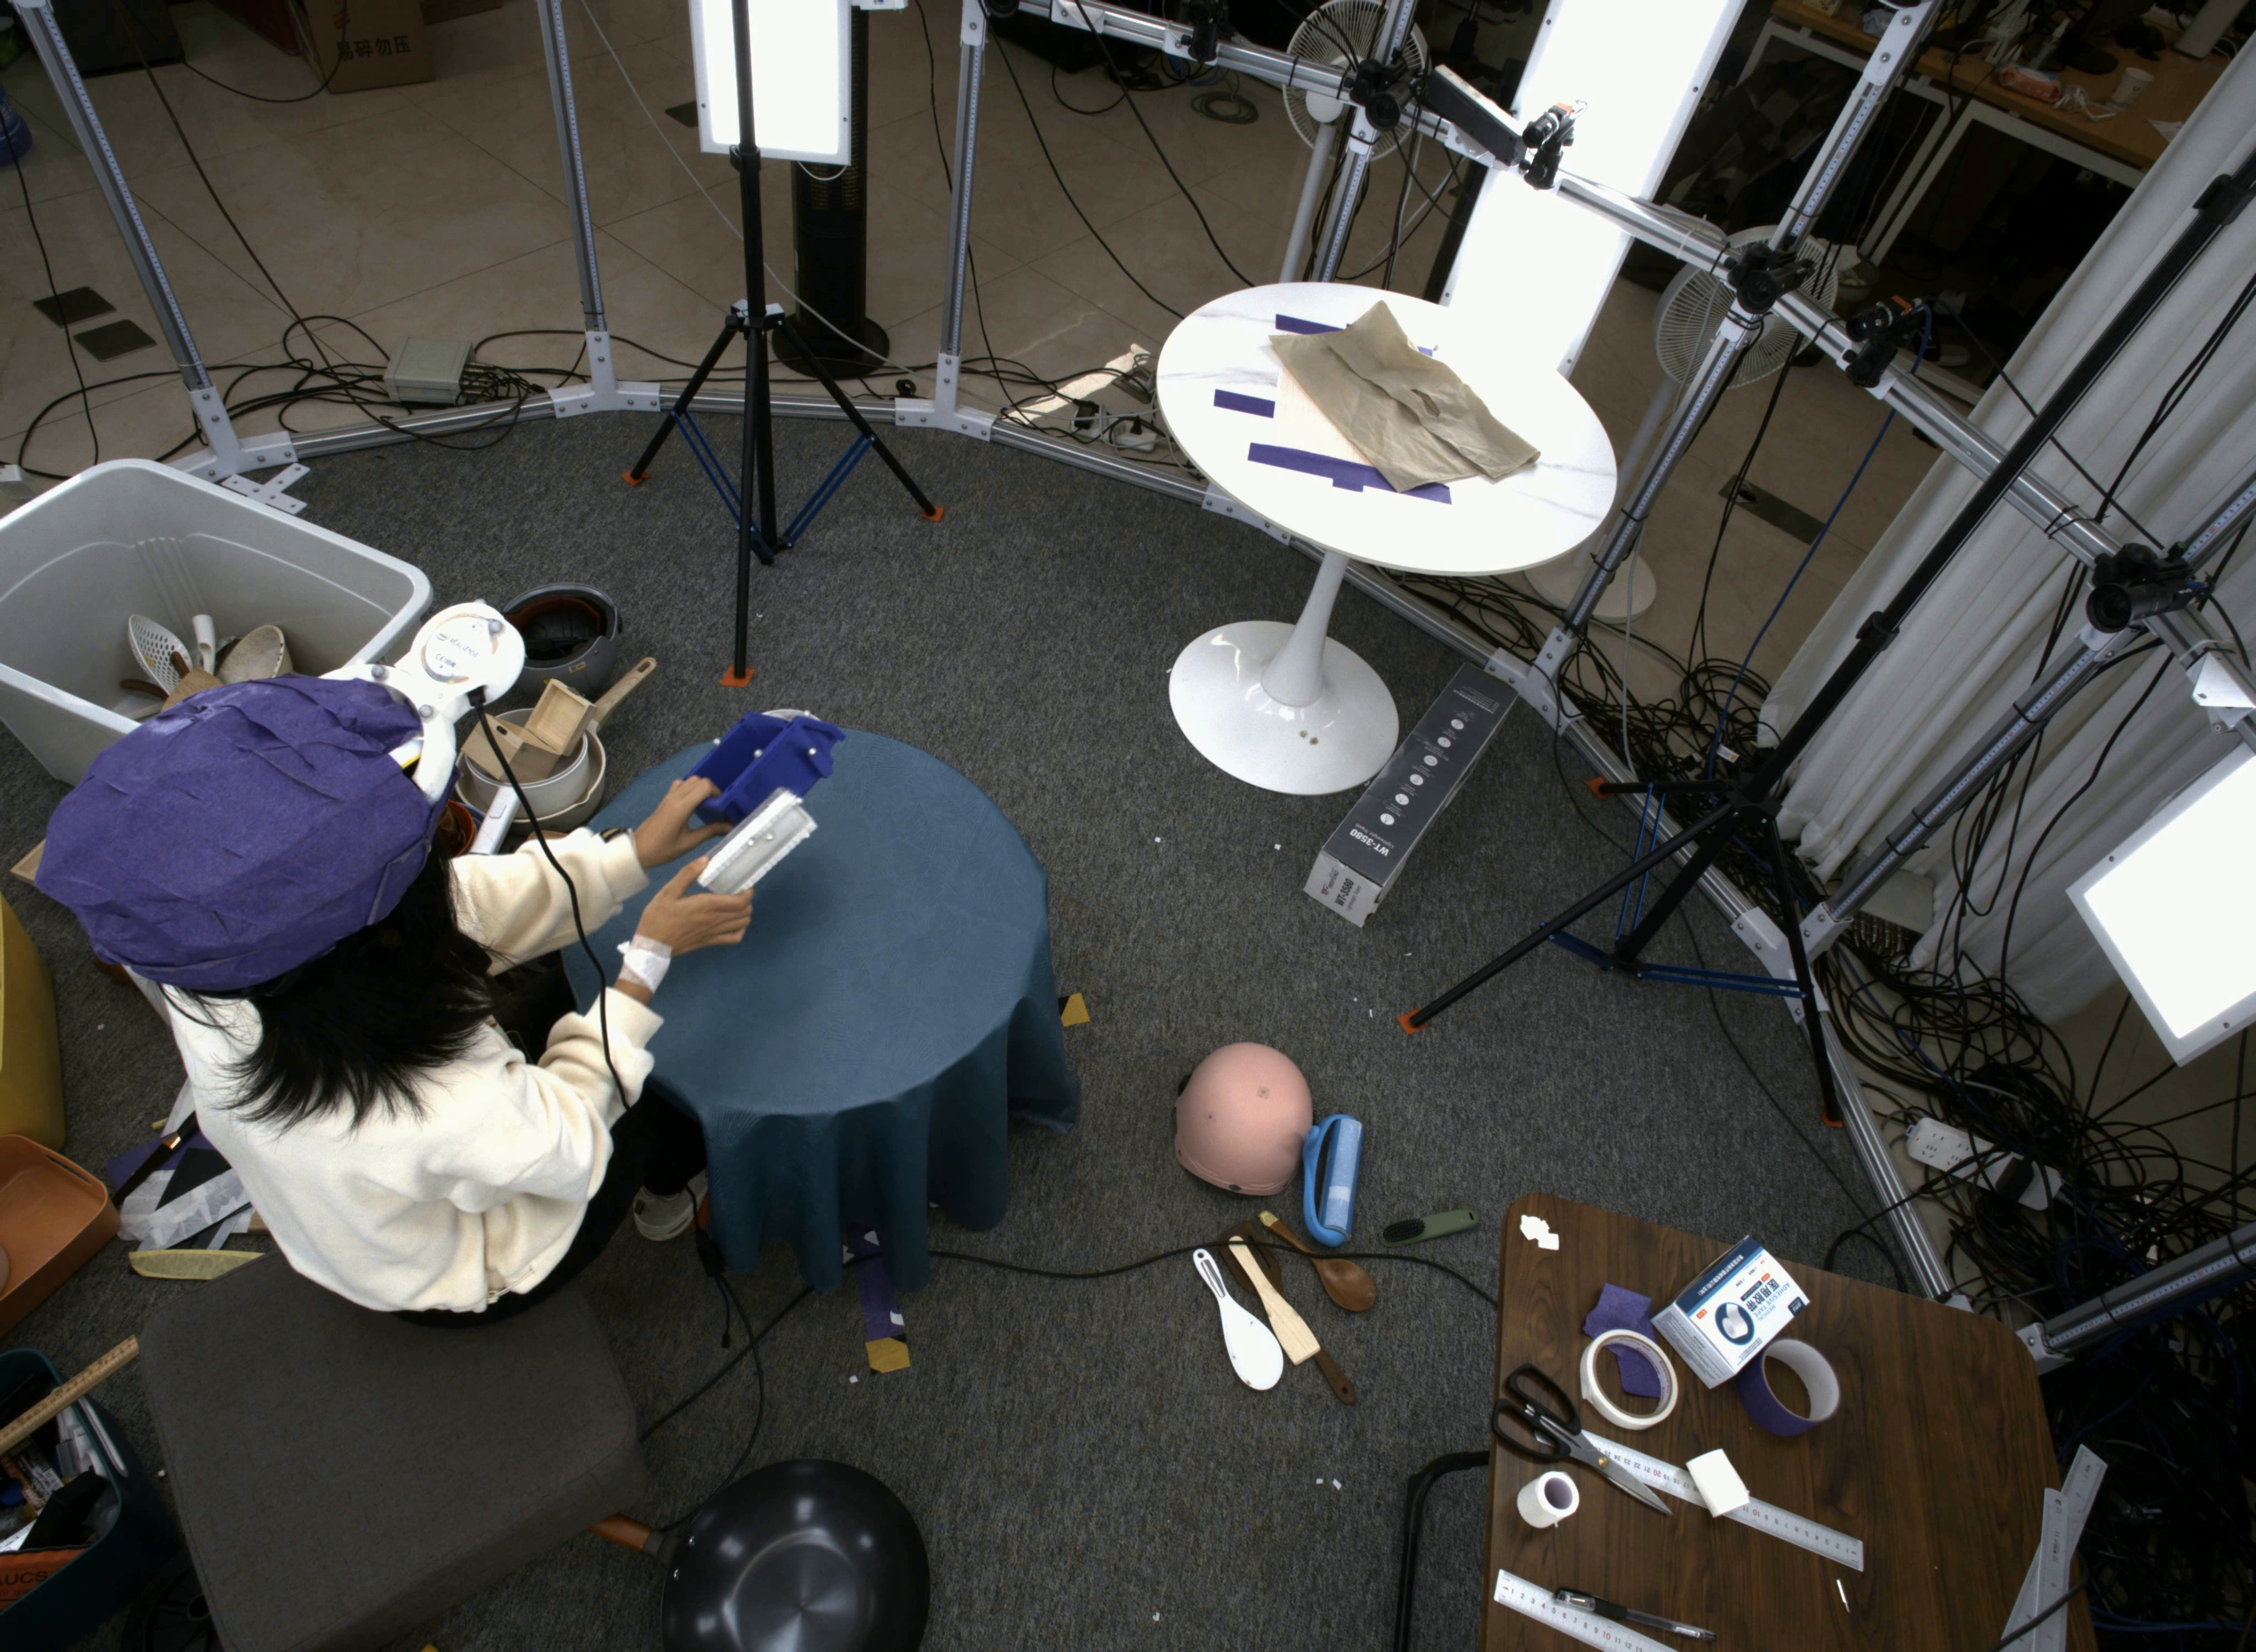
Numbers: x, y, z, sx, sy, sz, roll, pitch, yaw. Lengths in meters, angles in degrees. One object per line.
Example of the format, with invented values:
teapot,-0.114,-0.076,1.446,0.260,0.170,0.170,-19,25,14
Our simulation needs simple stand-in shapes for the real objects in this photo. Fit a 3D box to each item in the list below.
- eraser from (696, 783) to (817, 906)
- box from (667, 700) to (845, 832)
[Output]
eraser,-0.410,0.017,1.419,0.134,0.051,0.045,-45,41,-3
box,-0.435,-0.076,1.524,0.120,0.085,0.179,11,57,44
